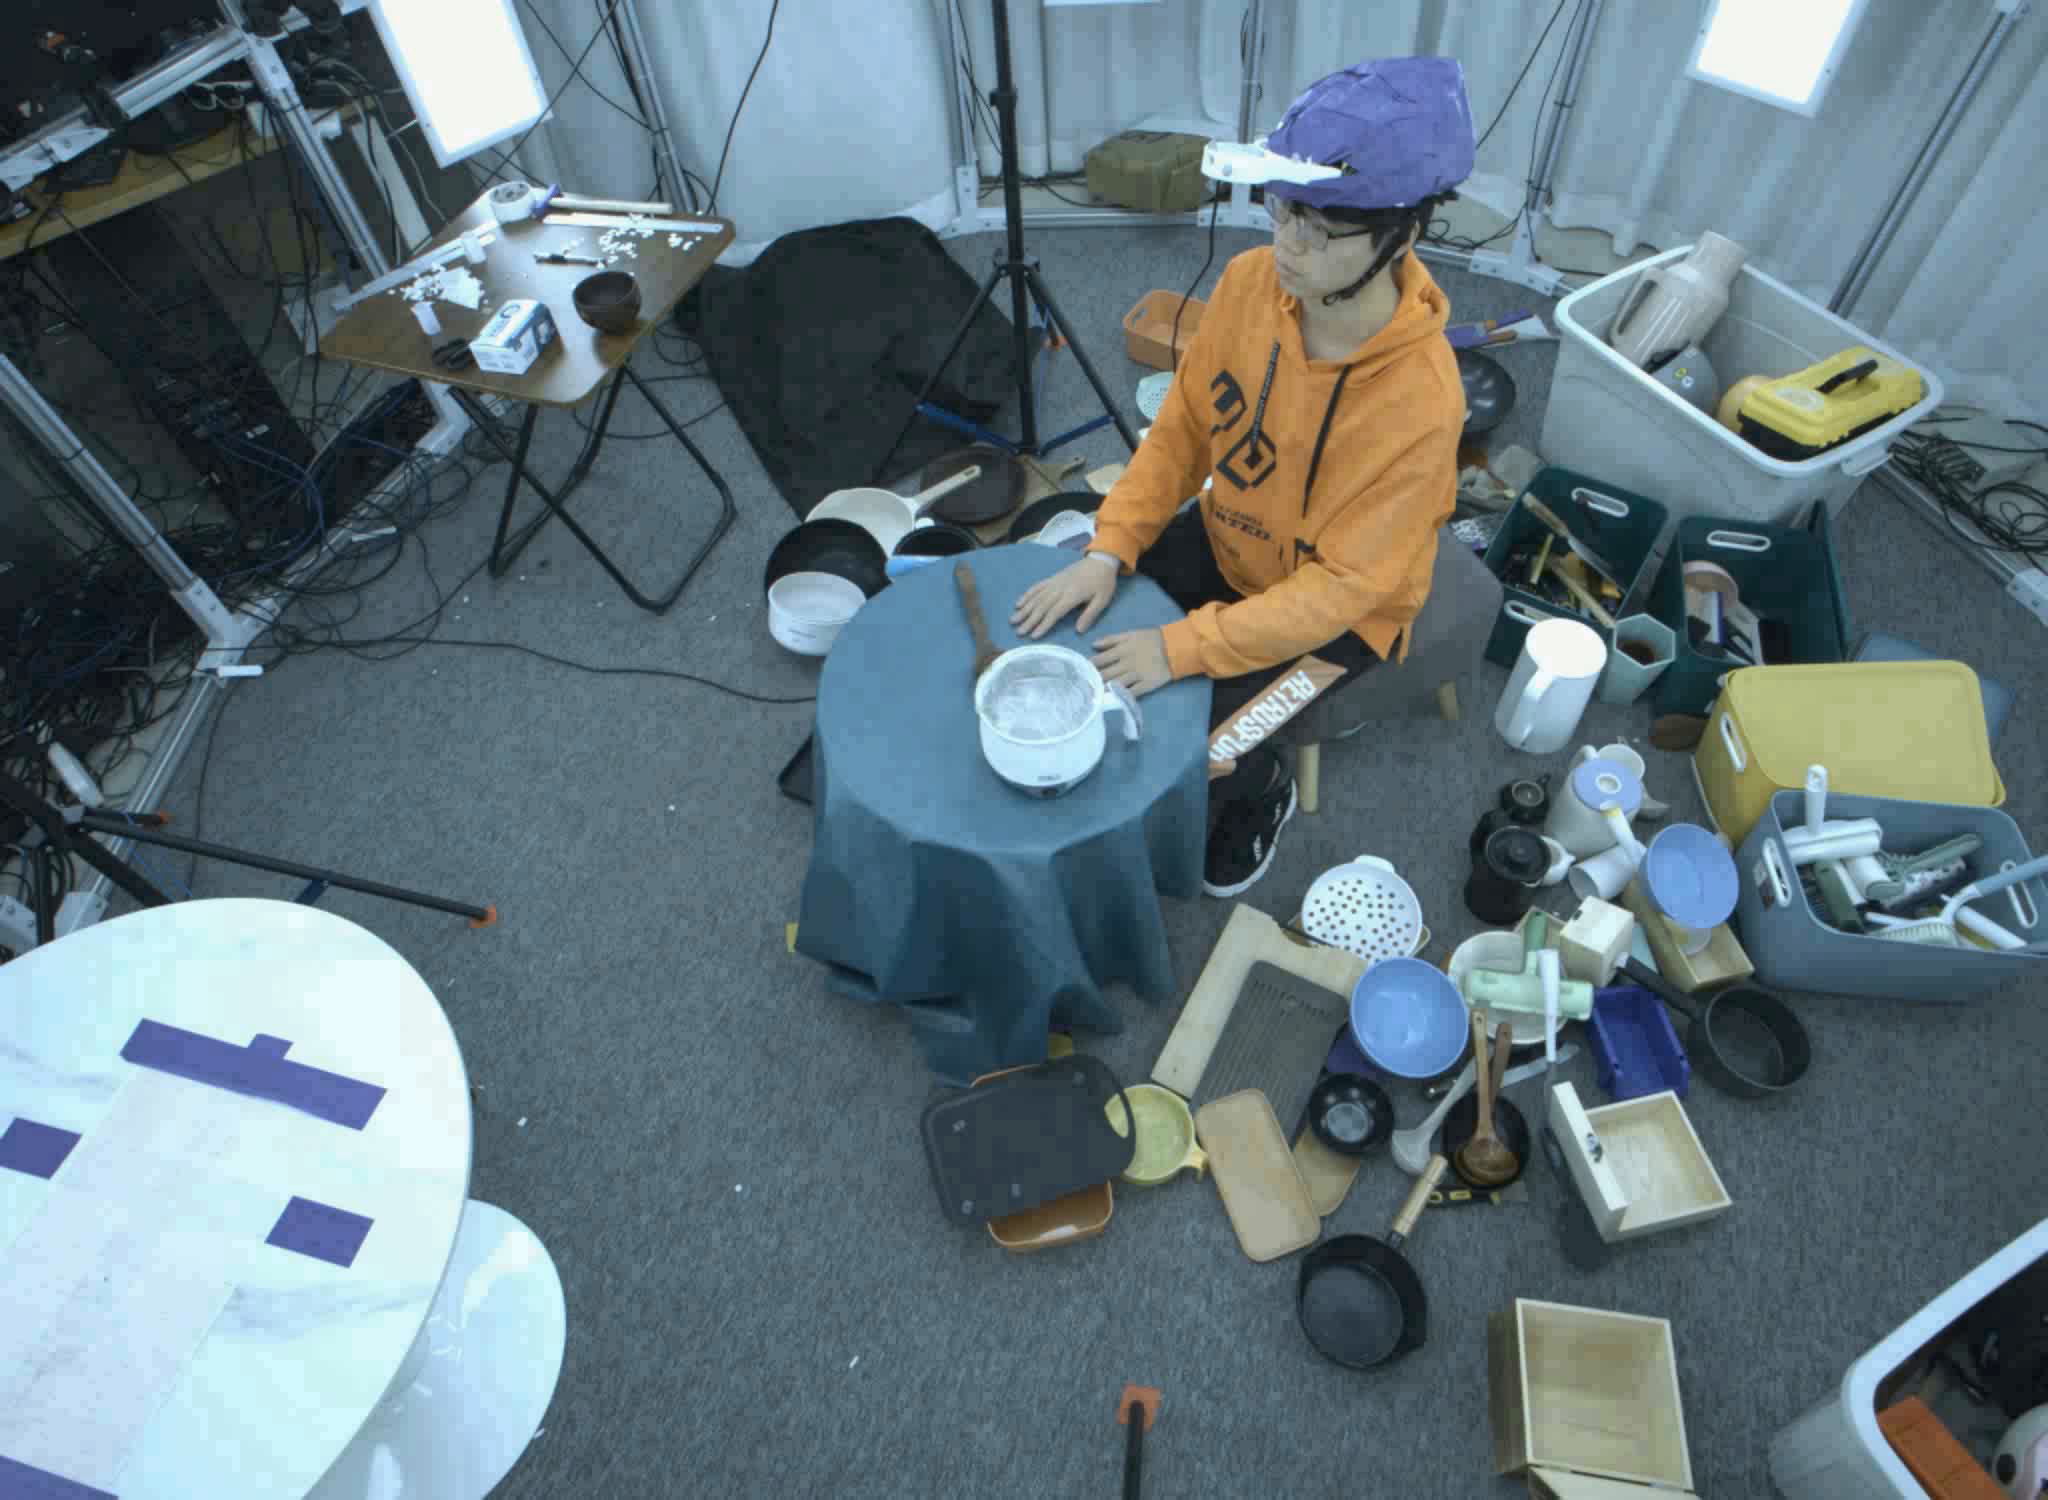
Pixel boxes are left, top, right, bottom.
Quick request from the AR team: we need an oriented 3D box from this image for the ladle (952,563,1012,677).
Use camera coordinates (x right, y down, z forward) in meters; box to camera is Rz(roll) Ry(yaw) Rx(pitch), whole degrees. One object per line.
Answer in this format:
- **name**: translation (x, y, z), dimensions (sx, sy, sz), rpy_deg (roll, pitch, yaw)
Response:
- **ladle**: translation (-0.075, -0.216, 1.900), dimensions (0.076, 0.072, 0.270), rpy_deg (-11, 56, -9)

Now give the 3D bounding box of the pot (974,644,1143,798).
- **pot**: translation (0.052, -0.044, 1.732), dimensions (0.234, 0.138, 0.176), rpy_deg (-8, 55, -3)
